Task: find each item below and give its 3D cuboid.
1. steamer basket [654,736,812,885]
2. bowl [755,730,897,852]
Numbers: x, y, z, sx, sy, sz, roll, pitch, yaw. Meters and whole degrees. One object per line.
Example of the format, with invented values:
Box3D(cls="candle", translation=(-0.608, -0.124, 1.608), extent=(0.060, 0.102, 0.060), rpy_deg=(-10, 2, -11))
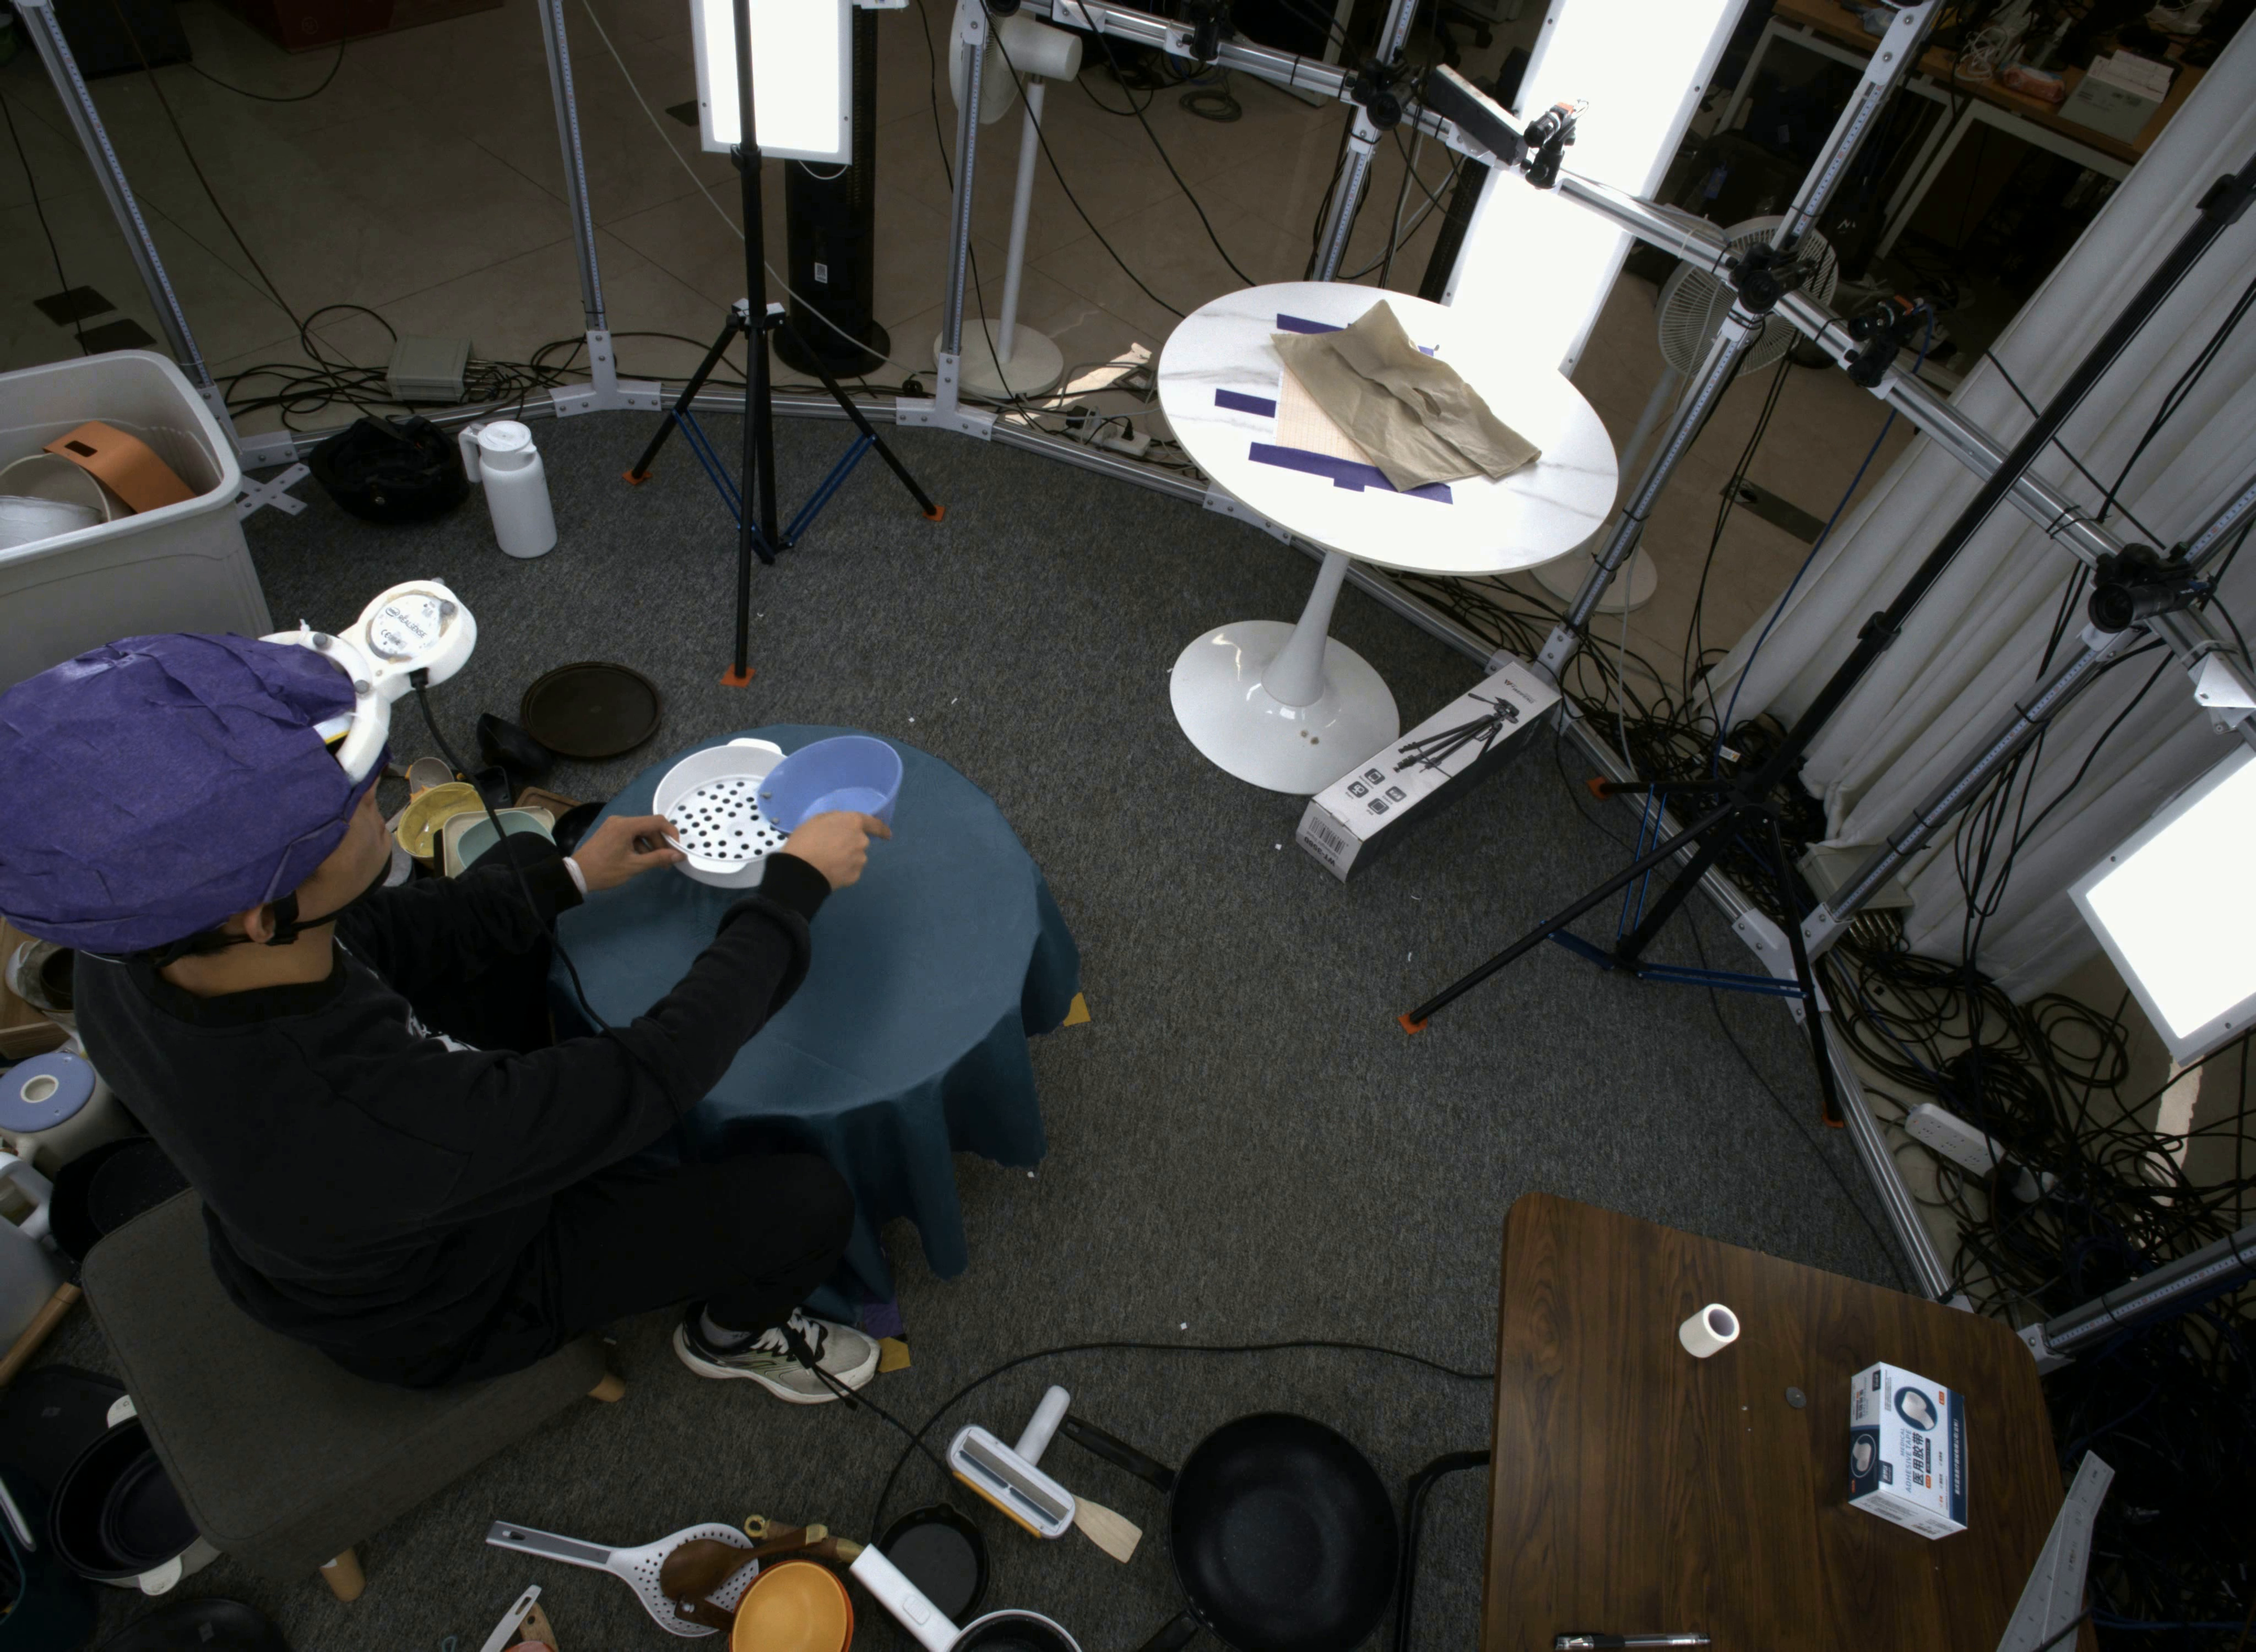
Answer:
Box3D(cls="steamer basket", translation=(-0.496, -0.016, 1.642), extent=(0.201, 0.071, 0.226), rpy_deg=(9, 46, -7))
Box3D(cls="bowl", translation=(-0.350, -0.033, 1.548), extent=(0.173, 0.073, 0.172), rpy_deg=(-7, 43, 8))
